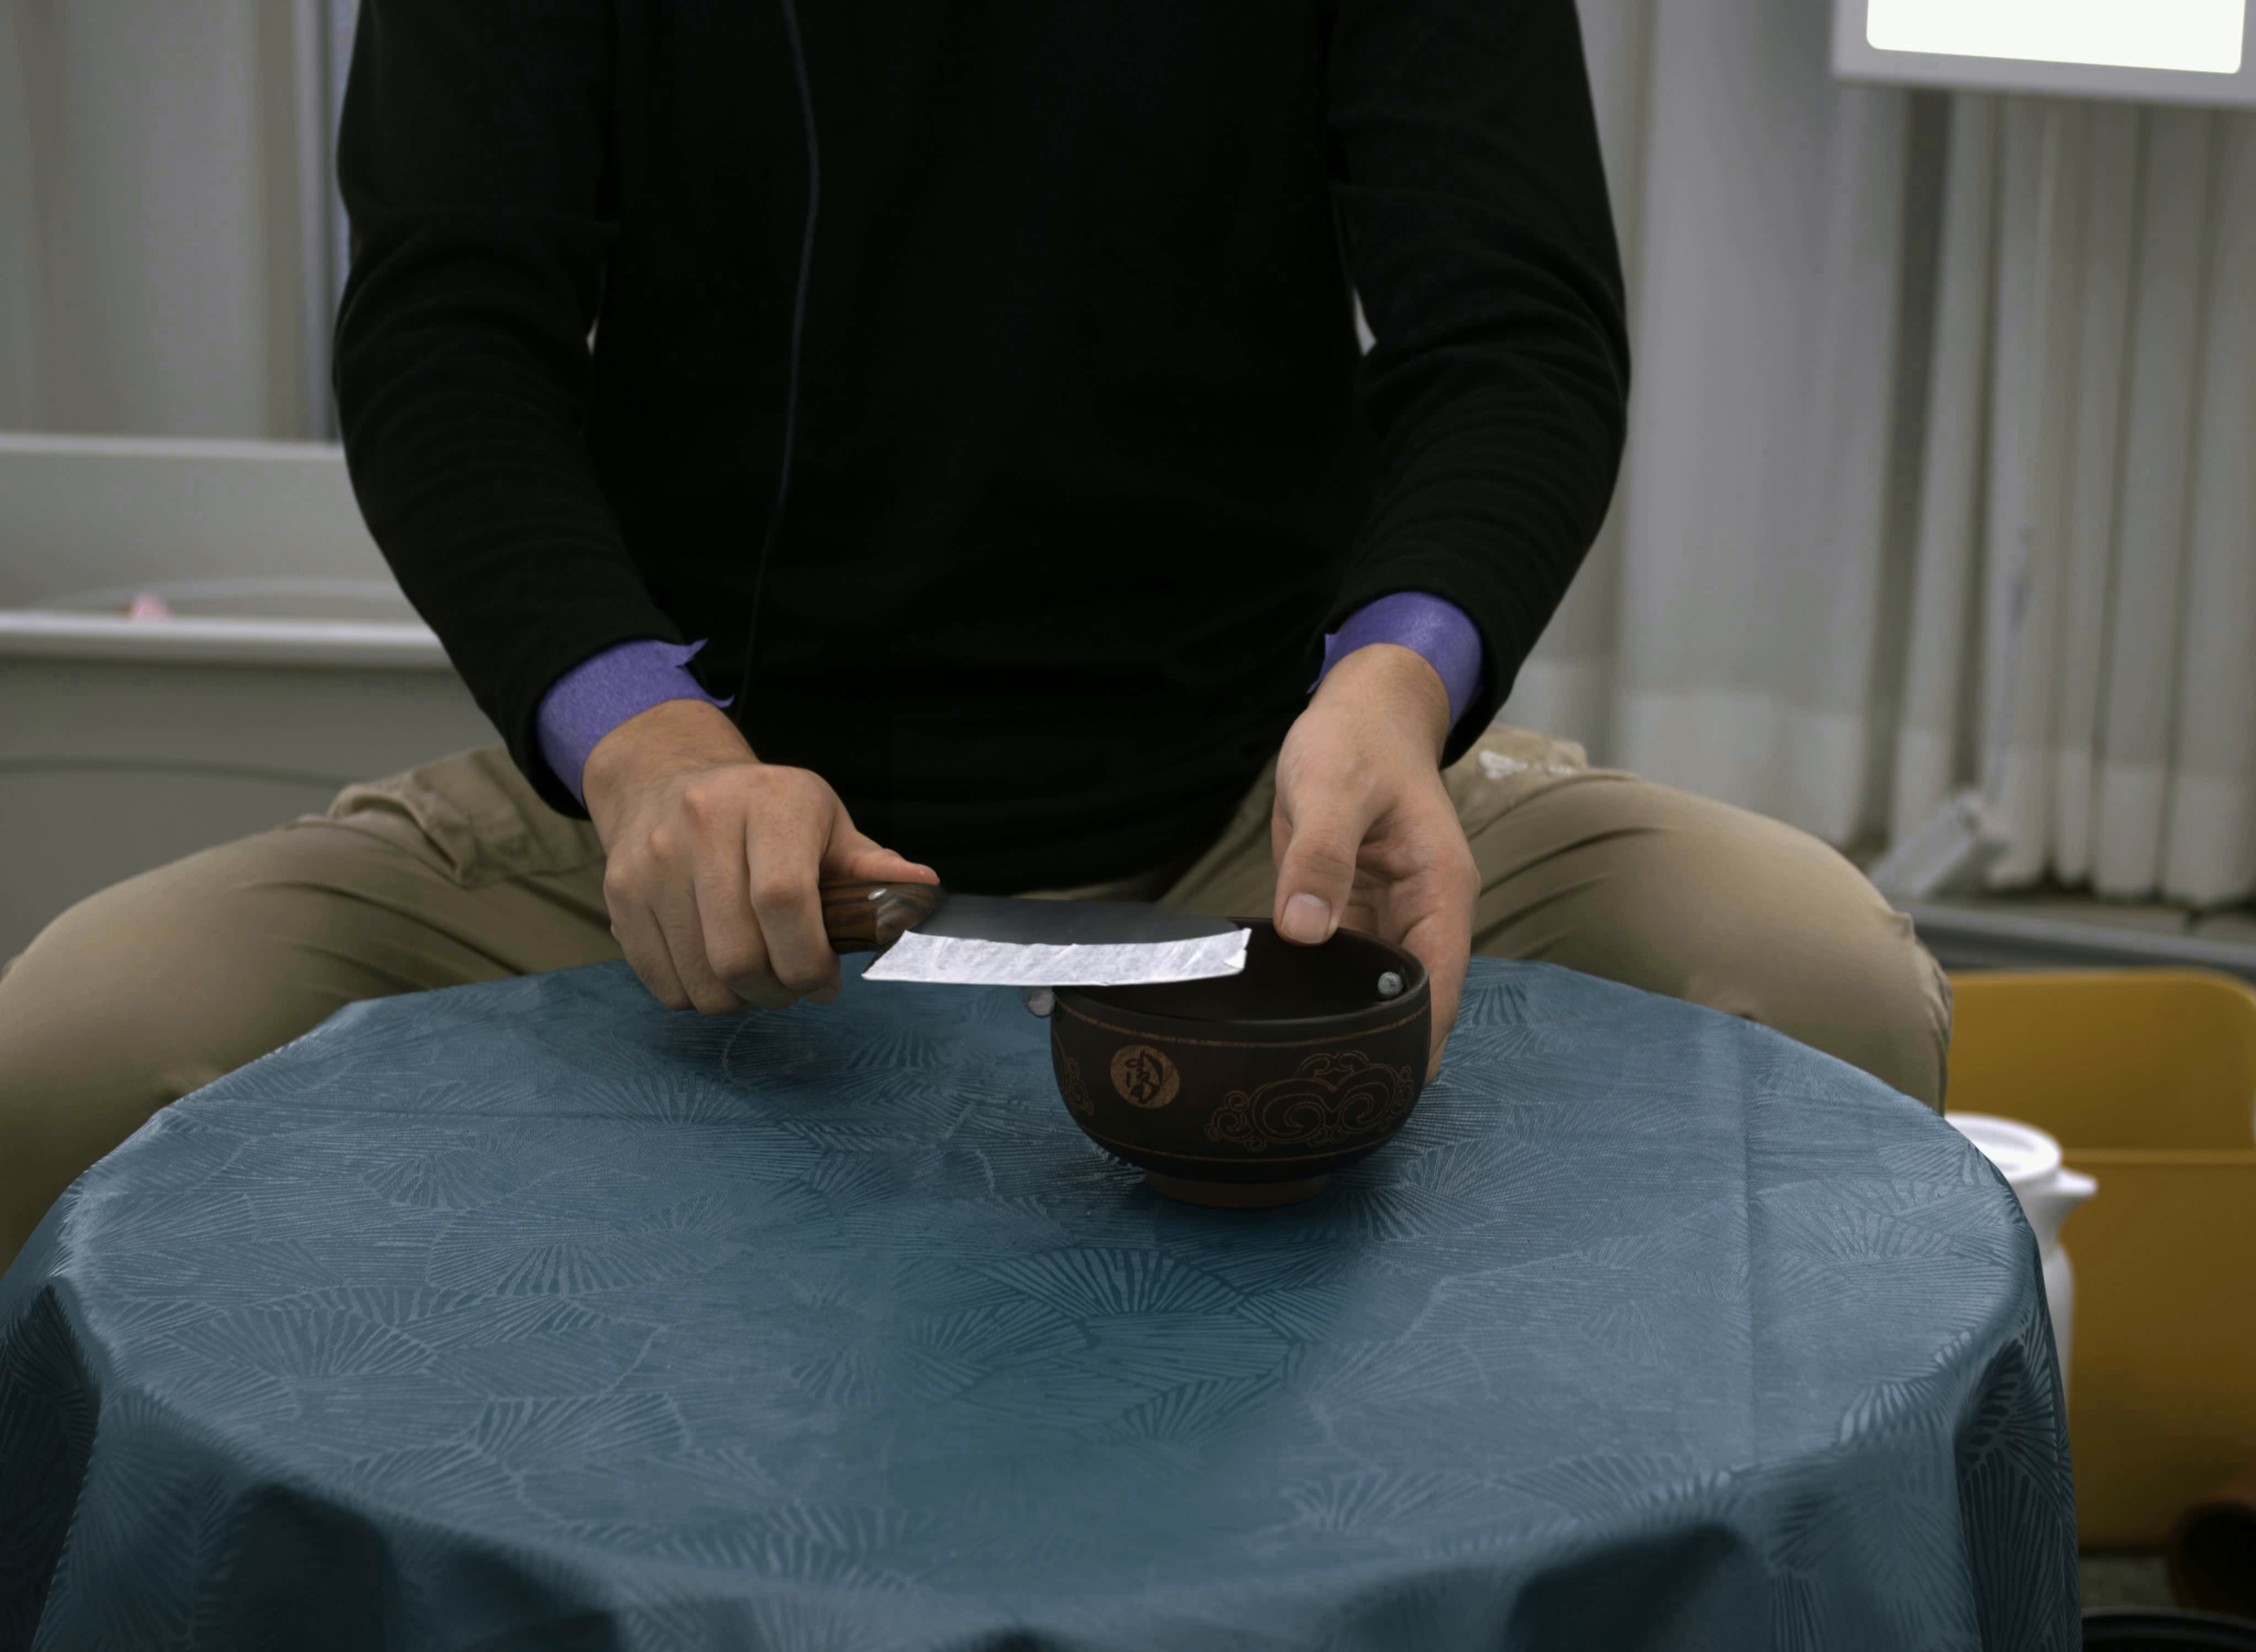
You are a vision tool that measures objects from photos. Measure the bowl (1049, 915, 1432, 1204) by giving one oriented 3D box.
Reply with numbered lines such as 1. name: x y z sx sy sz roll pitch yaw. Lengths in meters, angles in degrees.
1. bowl: 0.034 0.075 1.622 0.117 0.070 0.117 1 14 0

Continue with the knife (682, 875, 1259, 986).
1. knife: -0.053 0.034 1.652 0.286 0.020 0.050 3 39 50
